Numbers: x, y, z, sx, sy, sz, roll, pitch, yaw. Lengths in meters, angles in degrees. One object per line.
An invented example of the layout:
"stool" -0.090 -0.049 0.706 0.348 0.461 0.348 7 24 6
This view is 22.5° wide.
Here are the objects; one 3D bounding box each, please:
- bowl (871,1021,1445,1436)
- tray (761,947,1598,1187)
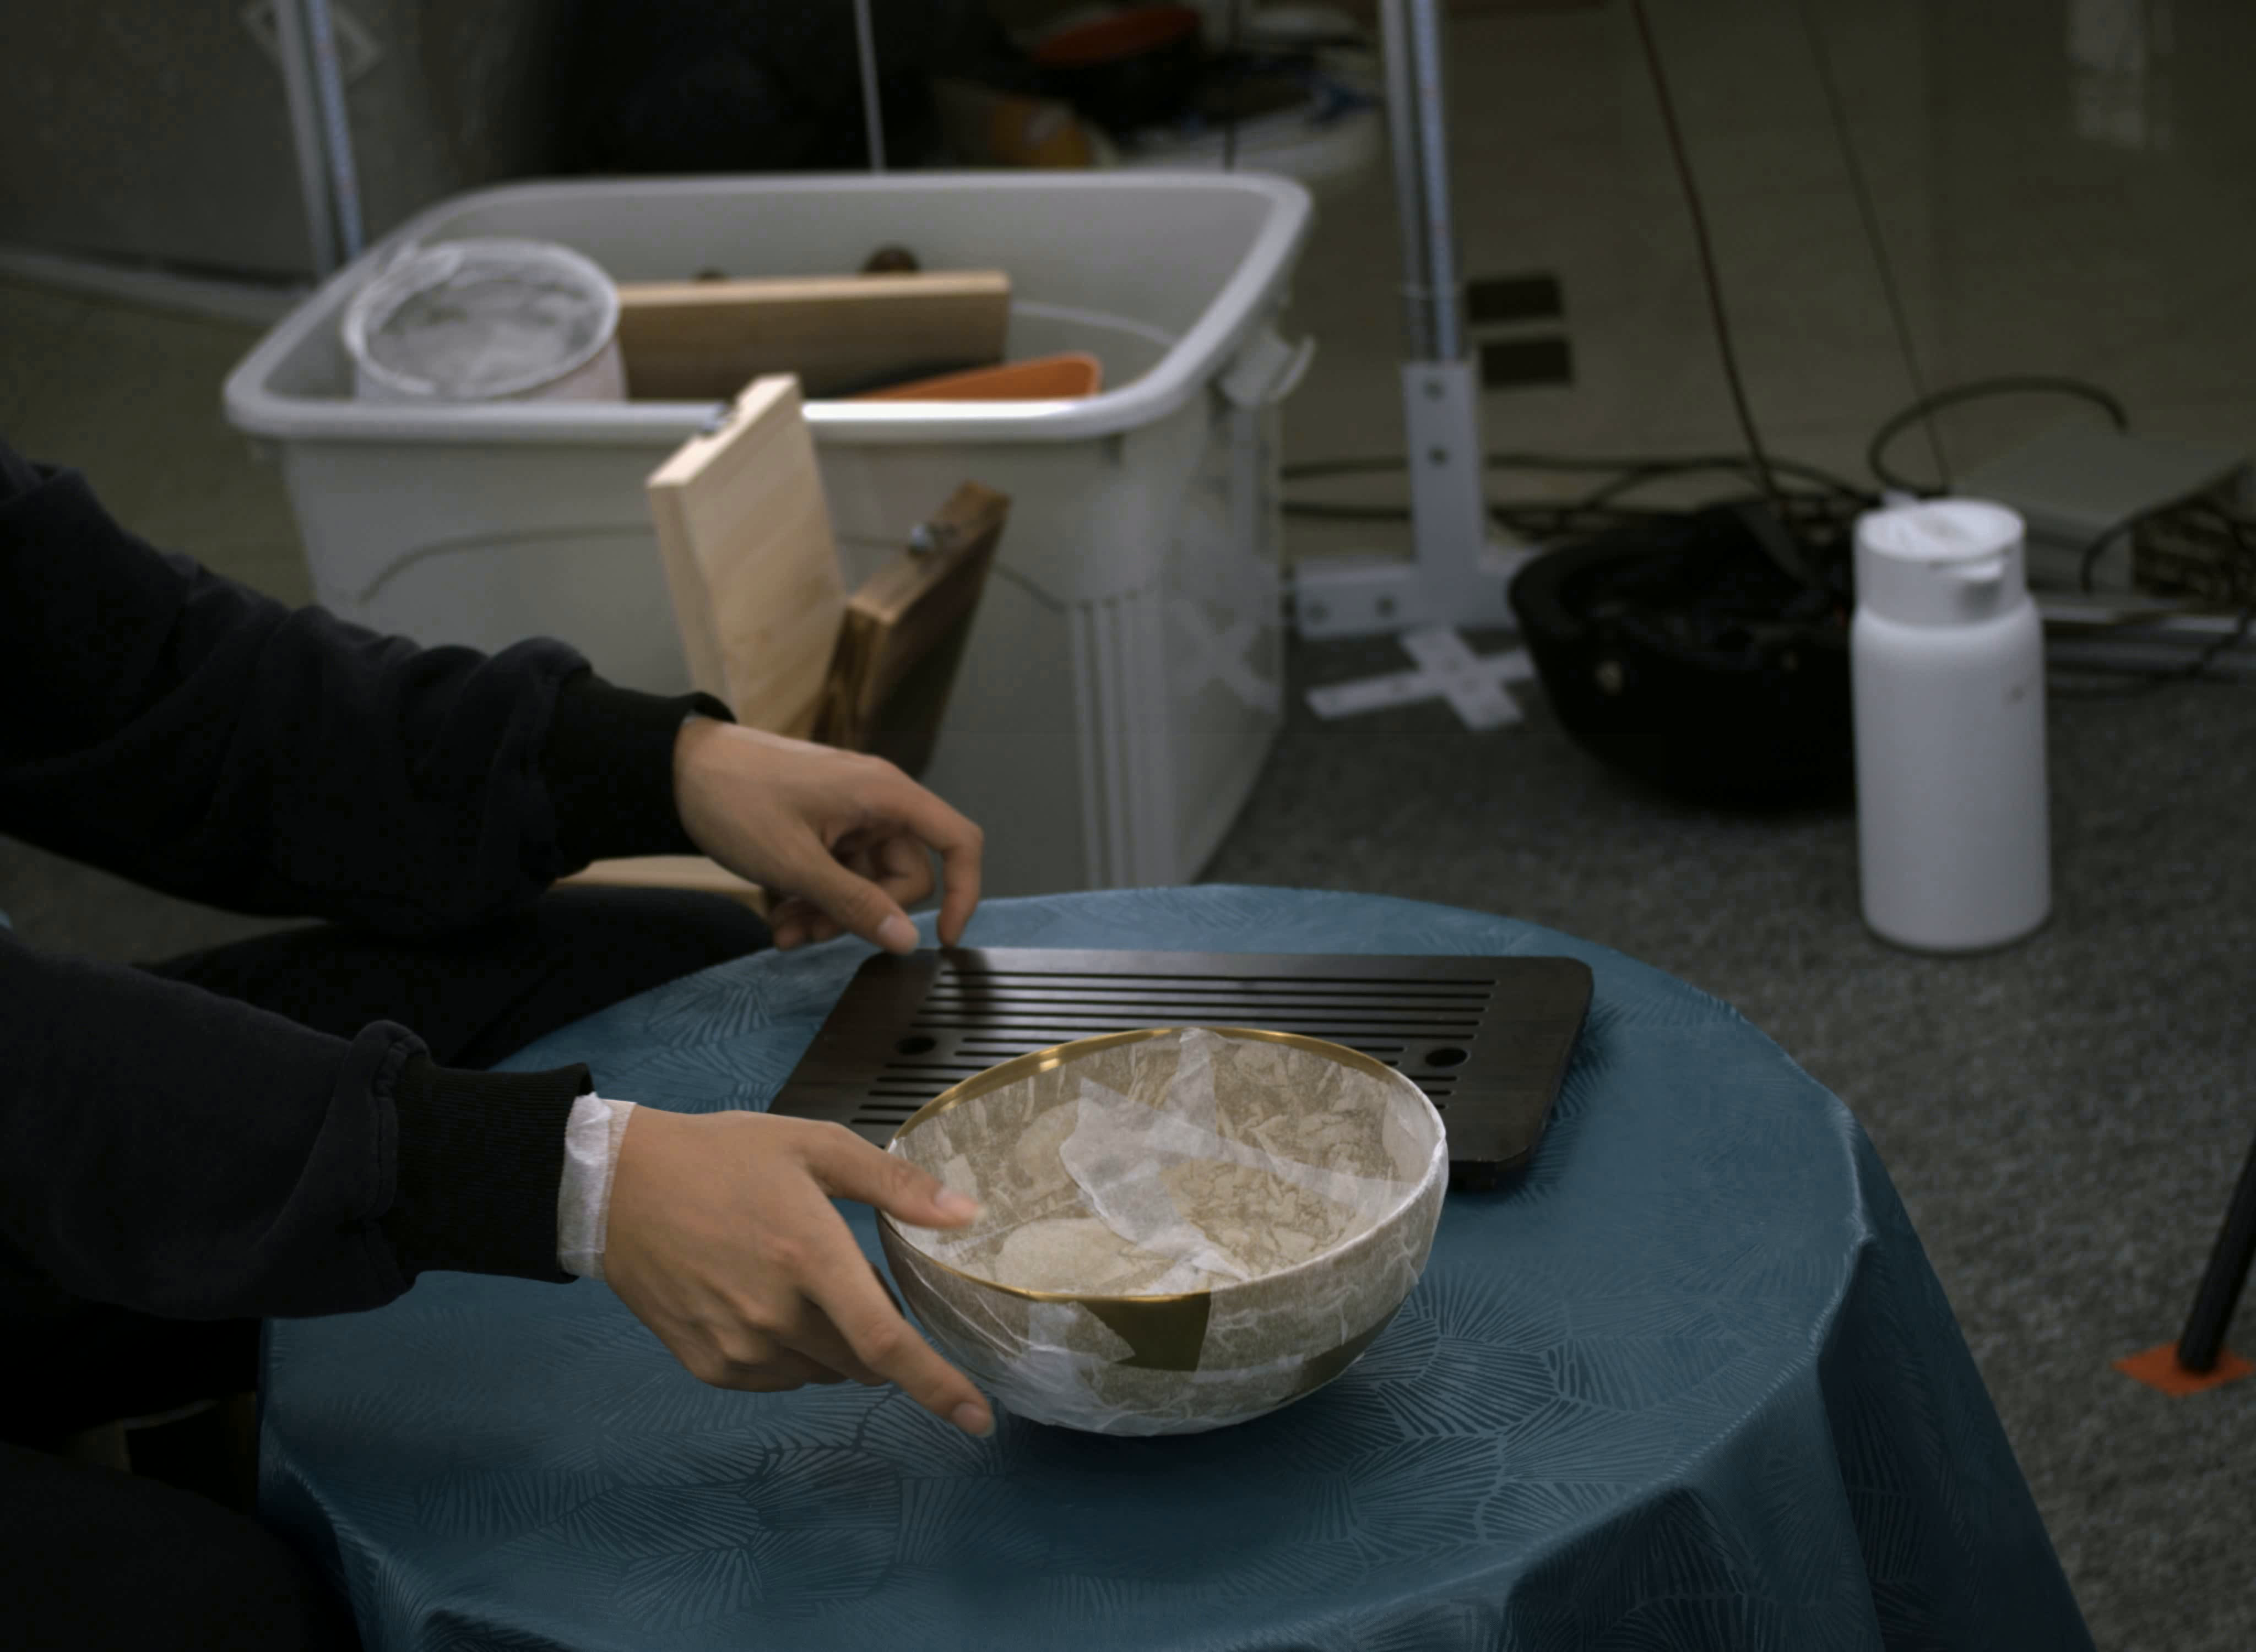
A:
"bowl" 0.011 0.154 2.007 0.214 0.096 0.211 -5 26 3
"tray" 0.022 0.094 2.224 0.305 0.019 0.168 1 26 15
